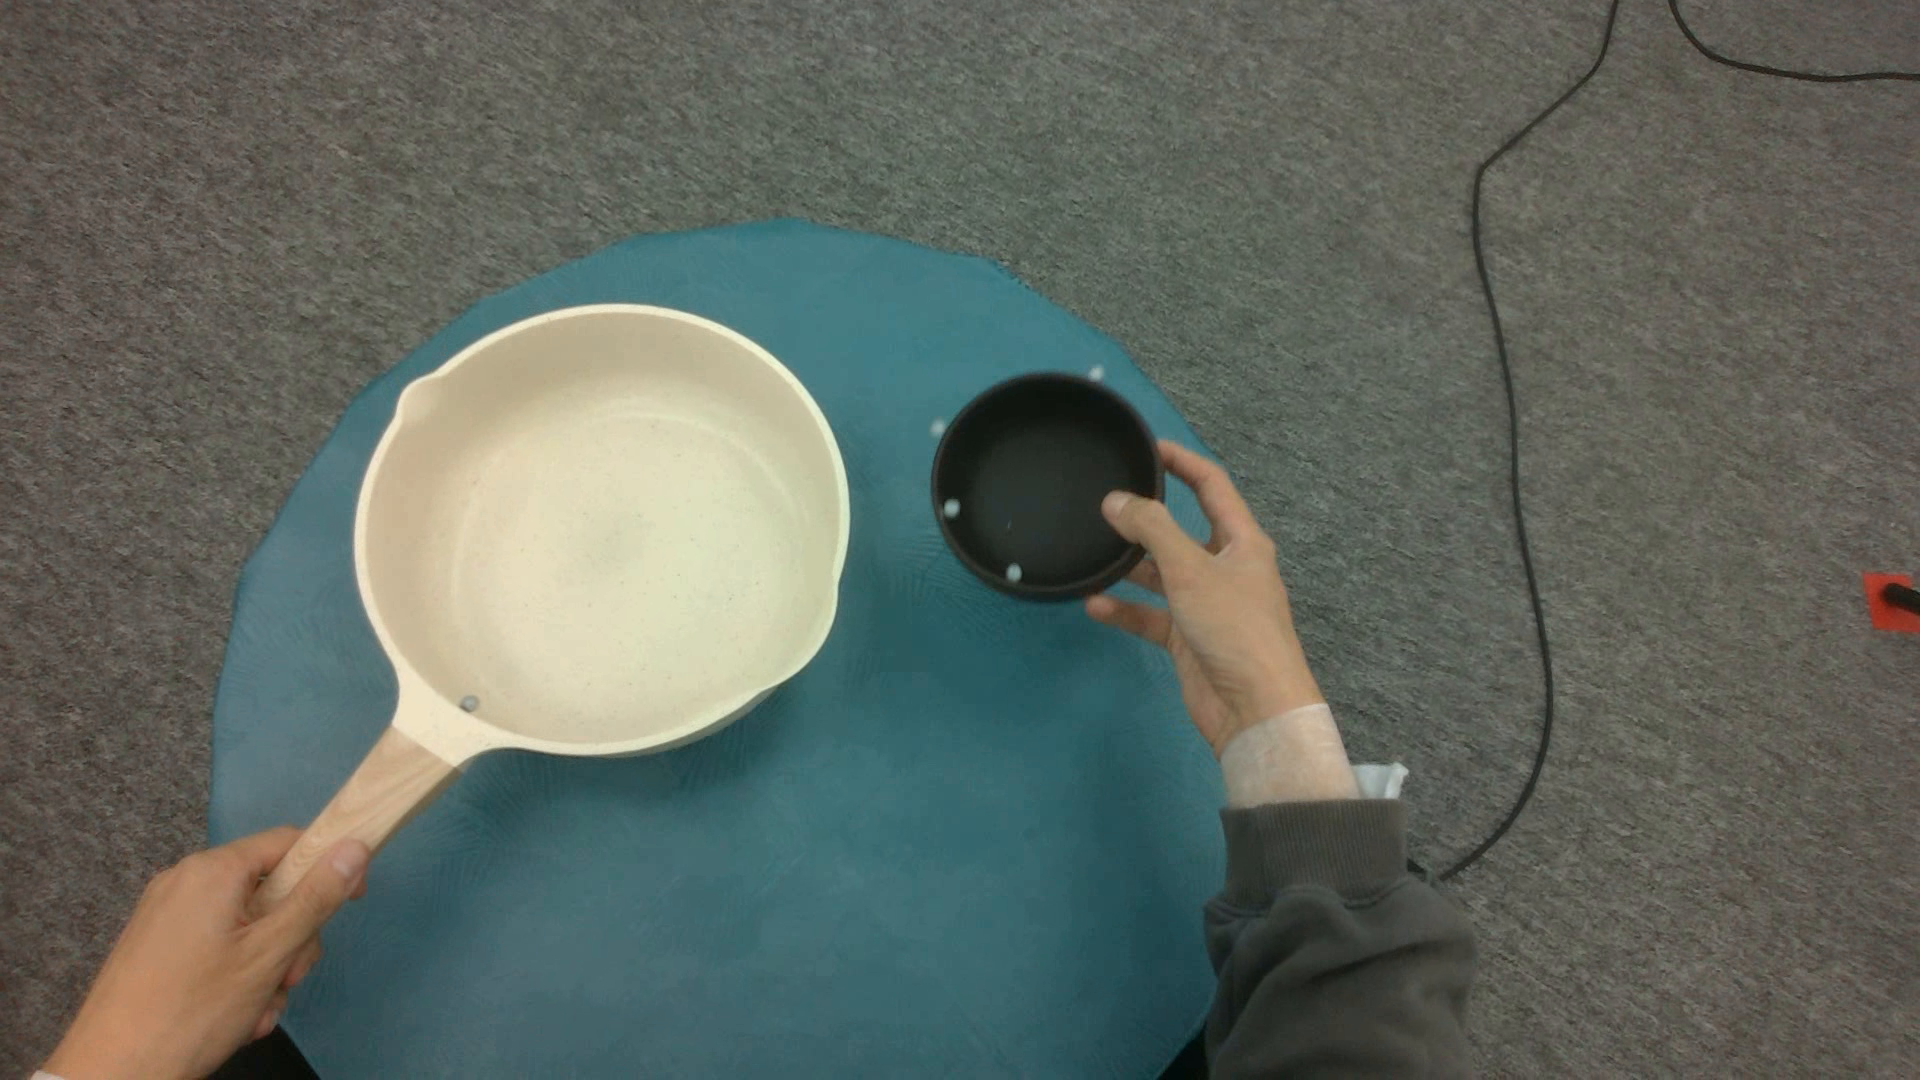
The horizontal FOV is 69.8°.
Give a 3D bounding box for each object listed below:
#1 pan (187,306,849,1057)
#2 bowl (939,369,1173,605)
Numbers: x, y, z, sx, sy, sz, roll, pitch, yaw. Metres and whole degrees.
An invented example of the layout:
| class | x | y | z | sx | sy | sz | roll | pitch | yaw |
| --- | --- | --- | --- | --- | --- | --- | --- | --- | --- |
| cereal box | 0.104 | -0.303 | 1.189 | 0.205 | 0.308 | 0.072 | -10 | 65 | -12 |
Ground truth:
| class | x | y | z | sx | sy | sz | roll | pitch | yaw |
| --- | --- | --- | --- | --- | --- | --- | --- | --- | --- |
| pan | -0.234 | 0.071 | 0.734 | 0.263 | 0.101 | 0.436 | 31 | 71 | 7 |
| bowl | 0.051 | -0.023 | 0.713 | 0.118 | 0.070 | 0.118 | -2 | 79 | 8 |
